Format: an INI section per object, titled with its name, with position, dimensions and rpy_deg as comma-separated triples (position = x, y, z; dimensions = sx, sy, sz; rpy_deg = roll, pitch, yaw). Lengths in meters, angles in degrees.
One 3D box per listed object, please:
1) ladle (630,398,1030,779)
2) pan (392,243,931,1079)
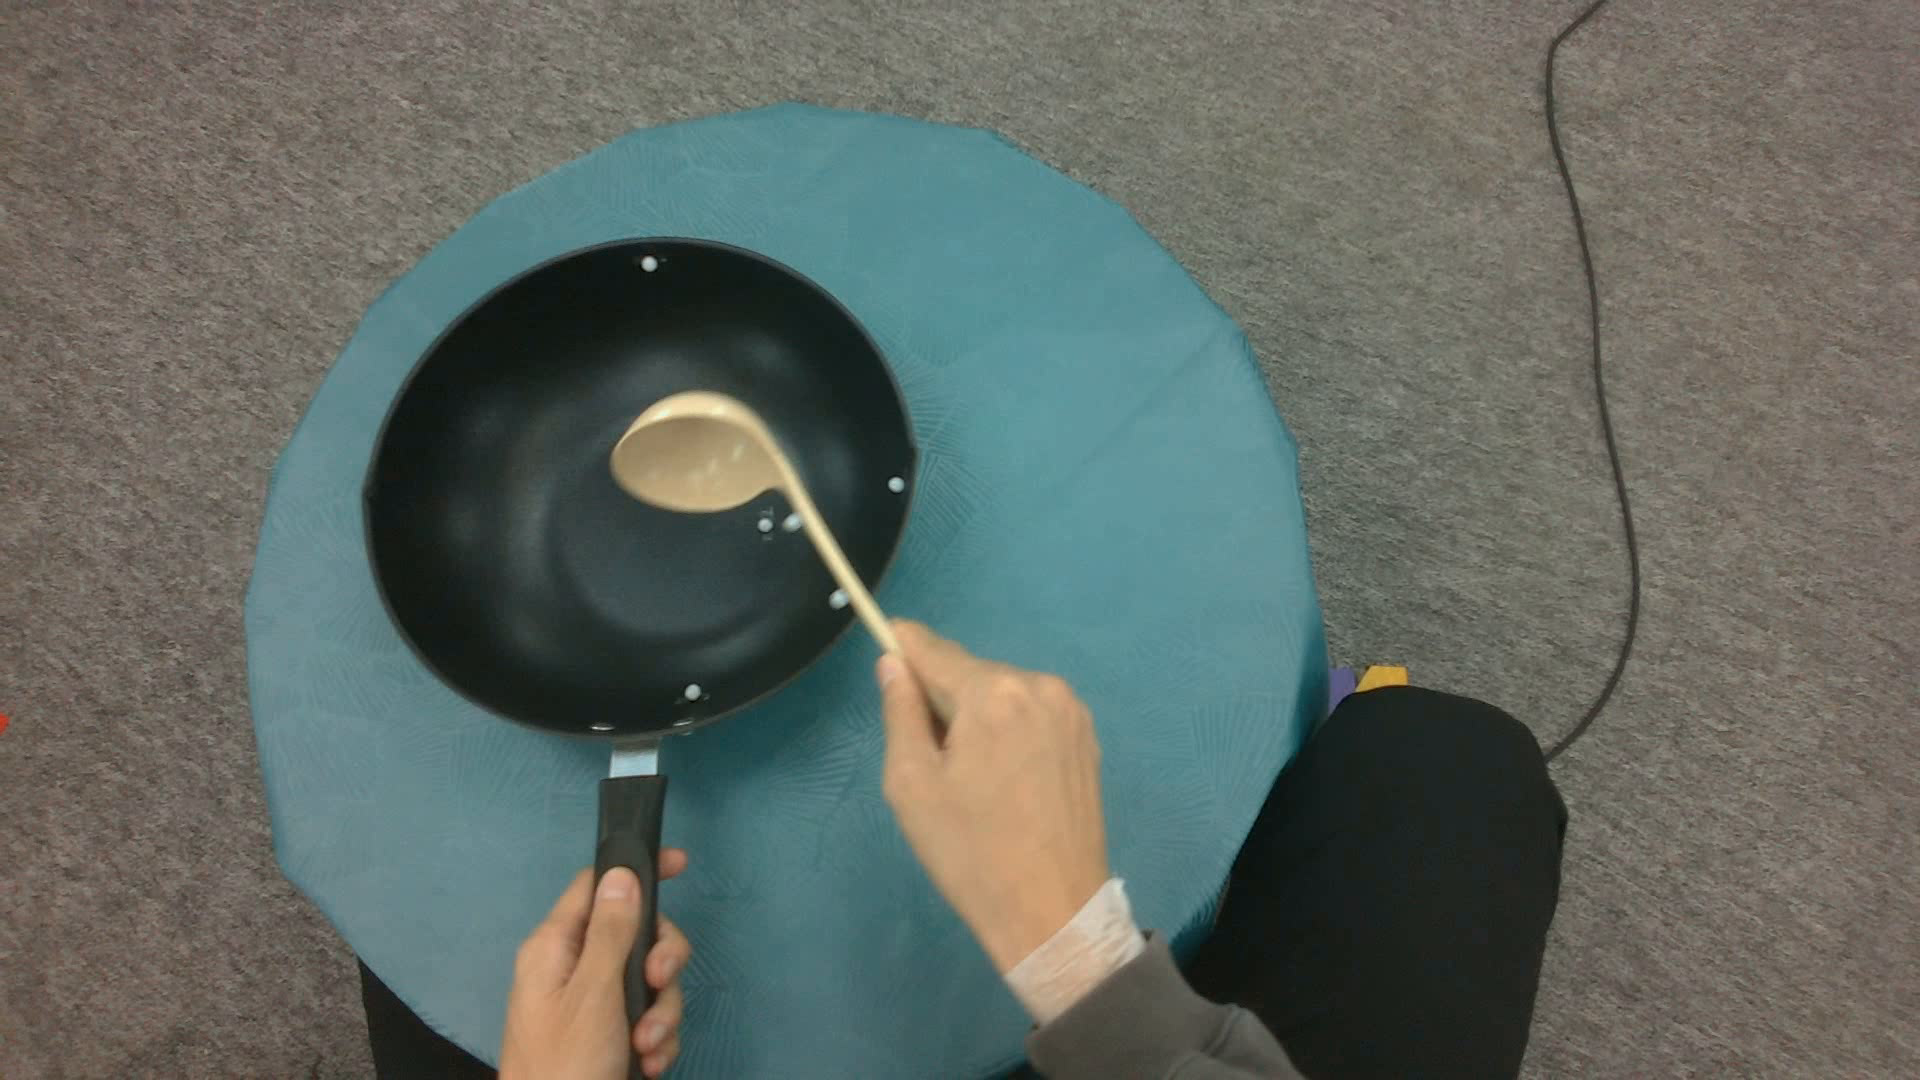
[ladle]
position = -0.069, 0.027, 0.619
dimensions = 0.073, 0.072, 0.255
rpy_deg = -20, 50, -27
[pan]
position = -0.153, 0.066, 0.730
dimensions = 0.288, 0.086, 0.464
rpy_deg = -3, 71, 2
